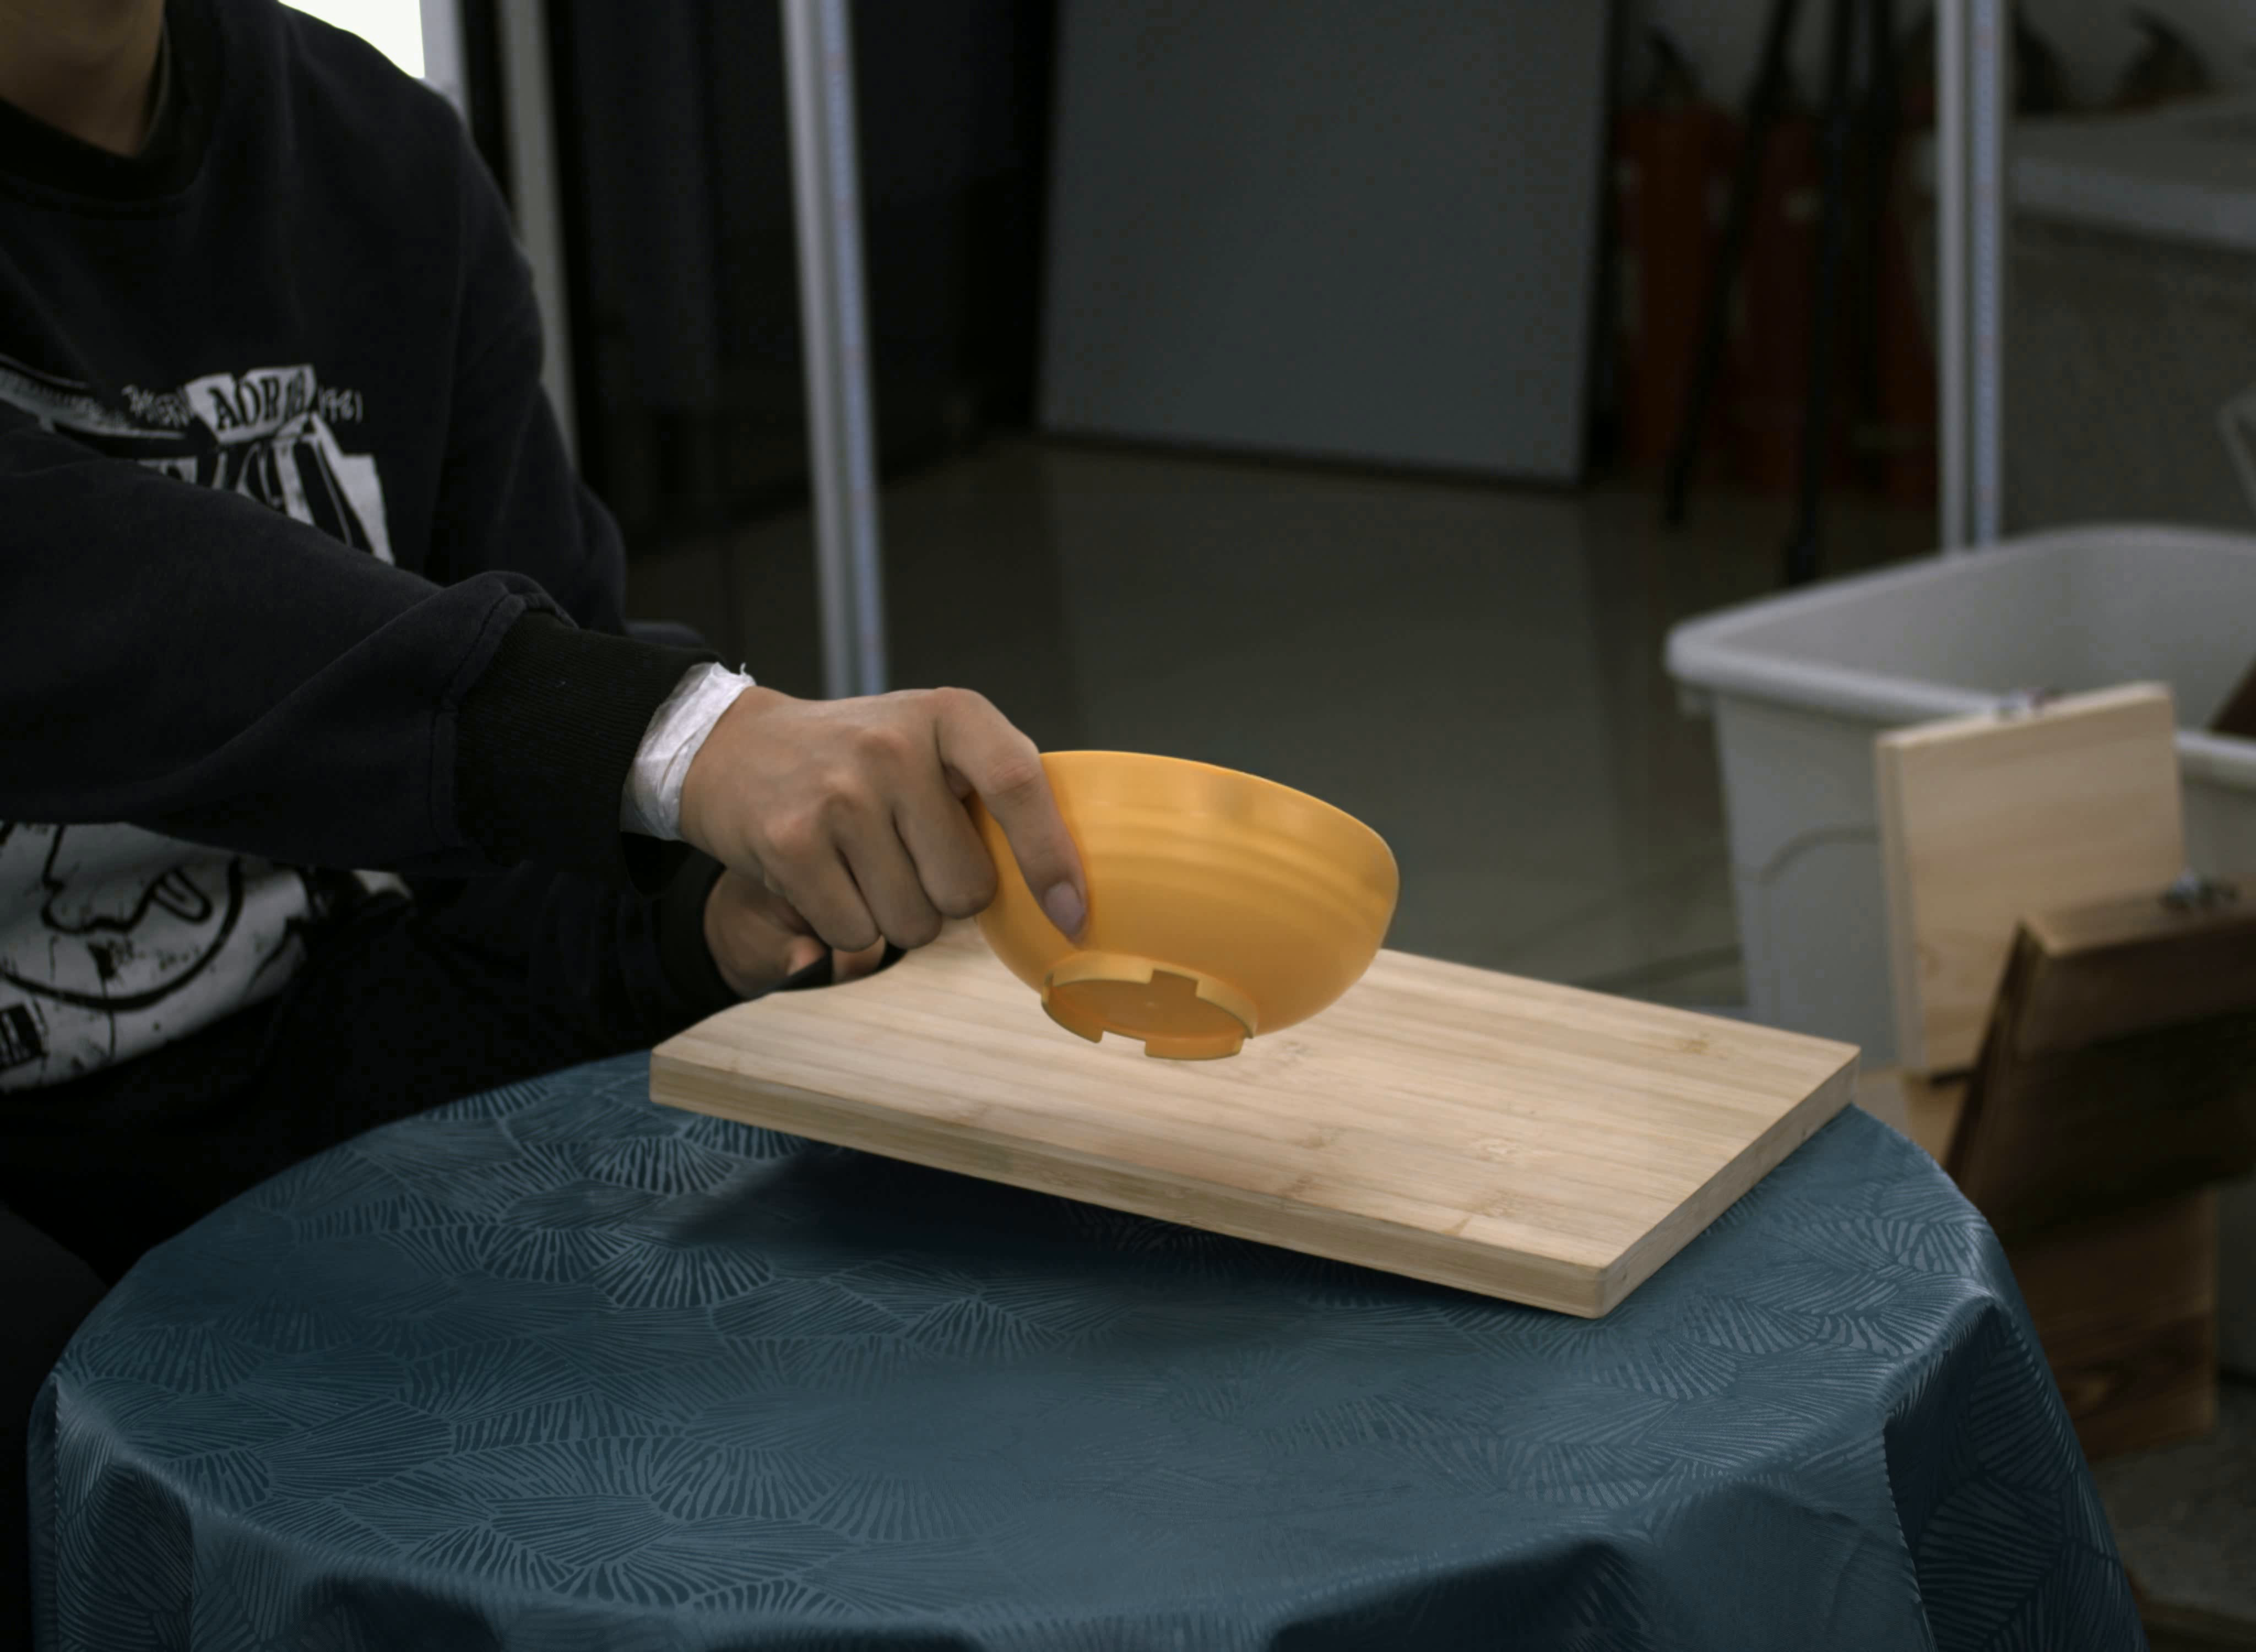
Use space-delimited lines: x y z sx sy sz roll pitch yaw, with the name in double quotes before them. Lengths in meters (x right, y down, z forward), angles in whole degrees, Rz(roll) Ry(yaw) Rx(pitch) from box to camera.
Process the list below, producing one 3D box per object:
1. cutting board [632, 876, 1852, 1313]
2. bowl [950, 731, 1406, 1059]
"cutting board" 0.041 0.082 1.795 0.349 0.024 0.247 10 19 25
"bowl" 0.010 0.030 1.635 0.144 0.060 0.145 11 -23 4
